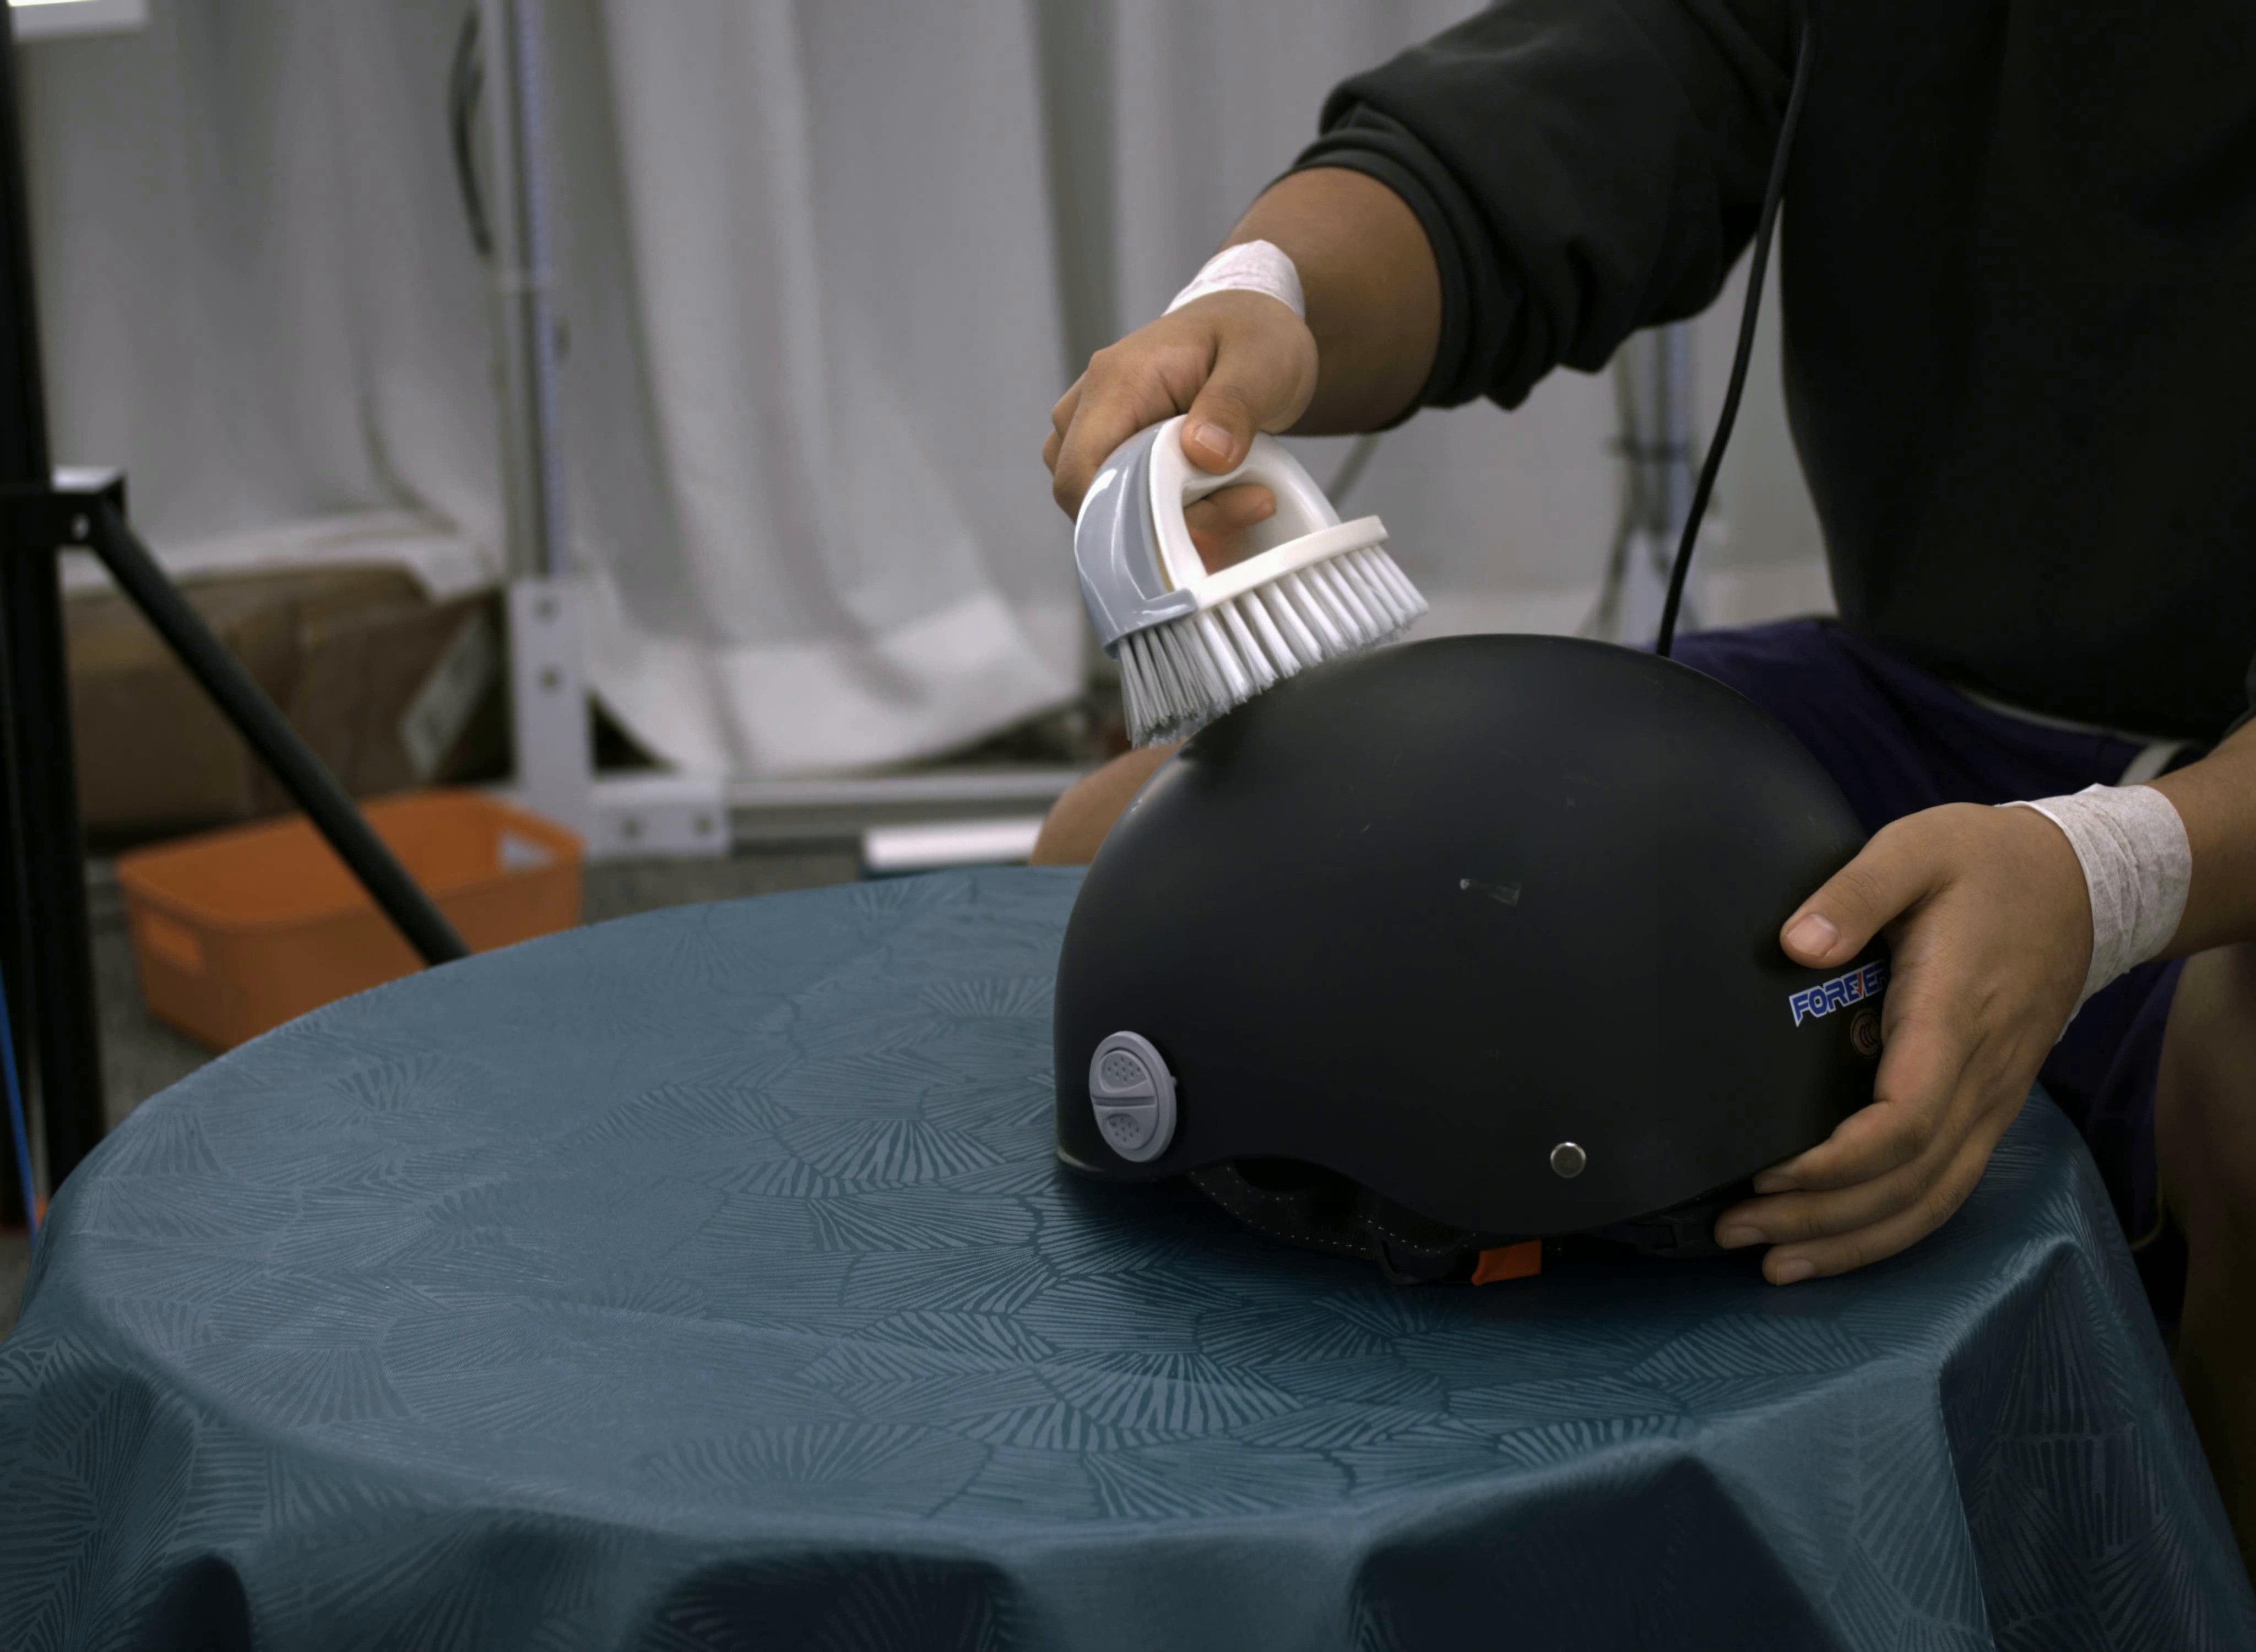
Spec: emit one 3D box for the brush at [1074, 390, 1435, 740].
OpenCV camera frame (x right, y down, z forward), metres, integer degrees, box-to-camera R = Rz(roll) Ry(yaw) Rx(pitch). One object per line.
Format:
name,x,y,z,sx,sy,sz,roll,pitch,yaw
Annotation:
brush,0.024,-0.081,1.576,0.062,0.094,0.173,-31,-1,28

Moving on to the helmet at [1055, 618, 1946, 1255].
helmet,0.102,0.024,1.541,0.279,0.167,0.224,8,16,43
